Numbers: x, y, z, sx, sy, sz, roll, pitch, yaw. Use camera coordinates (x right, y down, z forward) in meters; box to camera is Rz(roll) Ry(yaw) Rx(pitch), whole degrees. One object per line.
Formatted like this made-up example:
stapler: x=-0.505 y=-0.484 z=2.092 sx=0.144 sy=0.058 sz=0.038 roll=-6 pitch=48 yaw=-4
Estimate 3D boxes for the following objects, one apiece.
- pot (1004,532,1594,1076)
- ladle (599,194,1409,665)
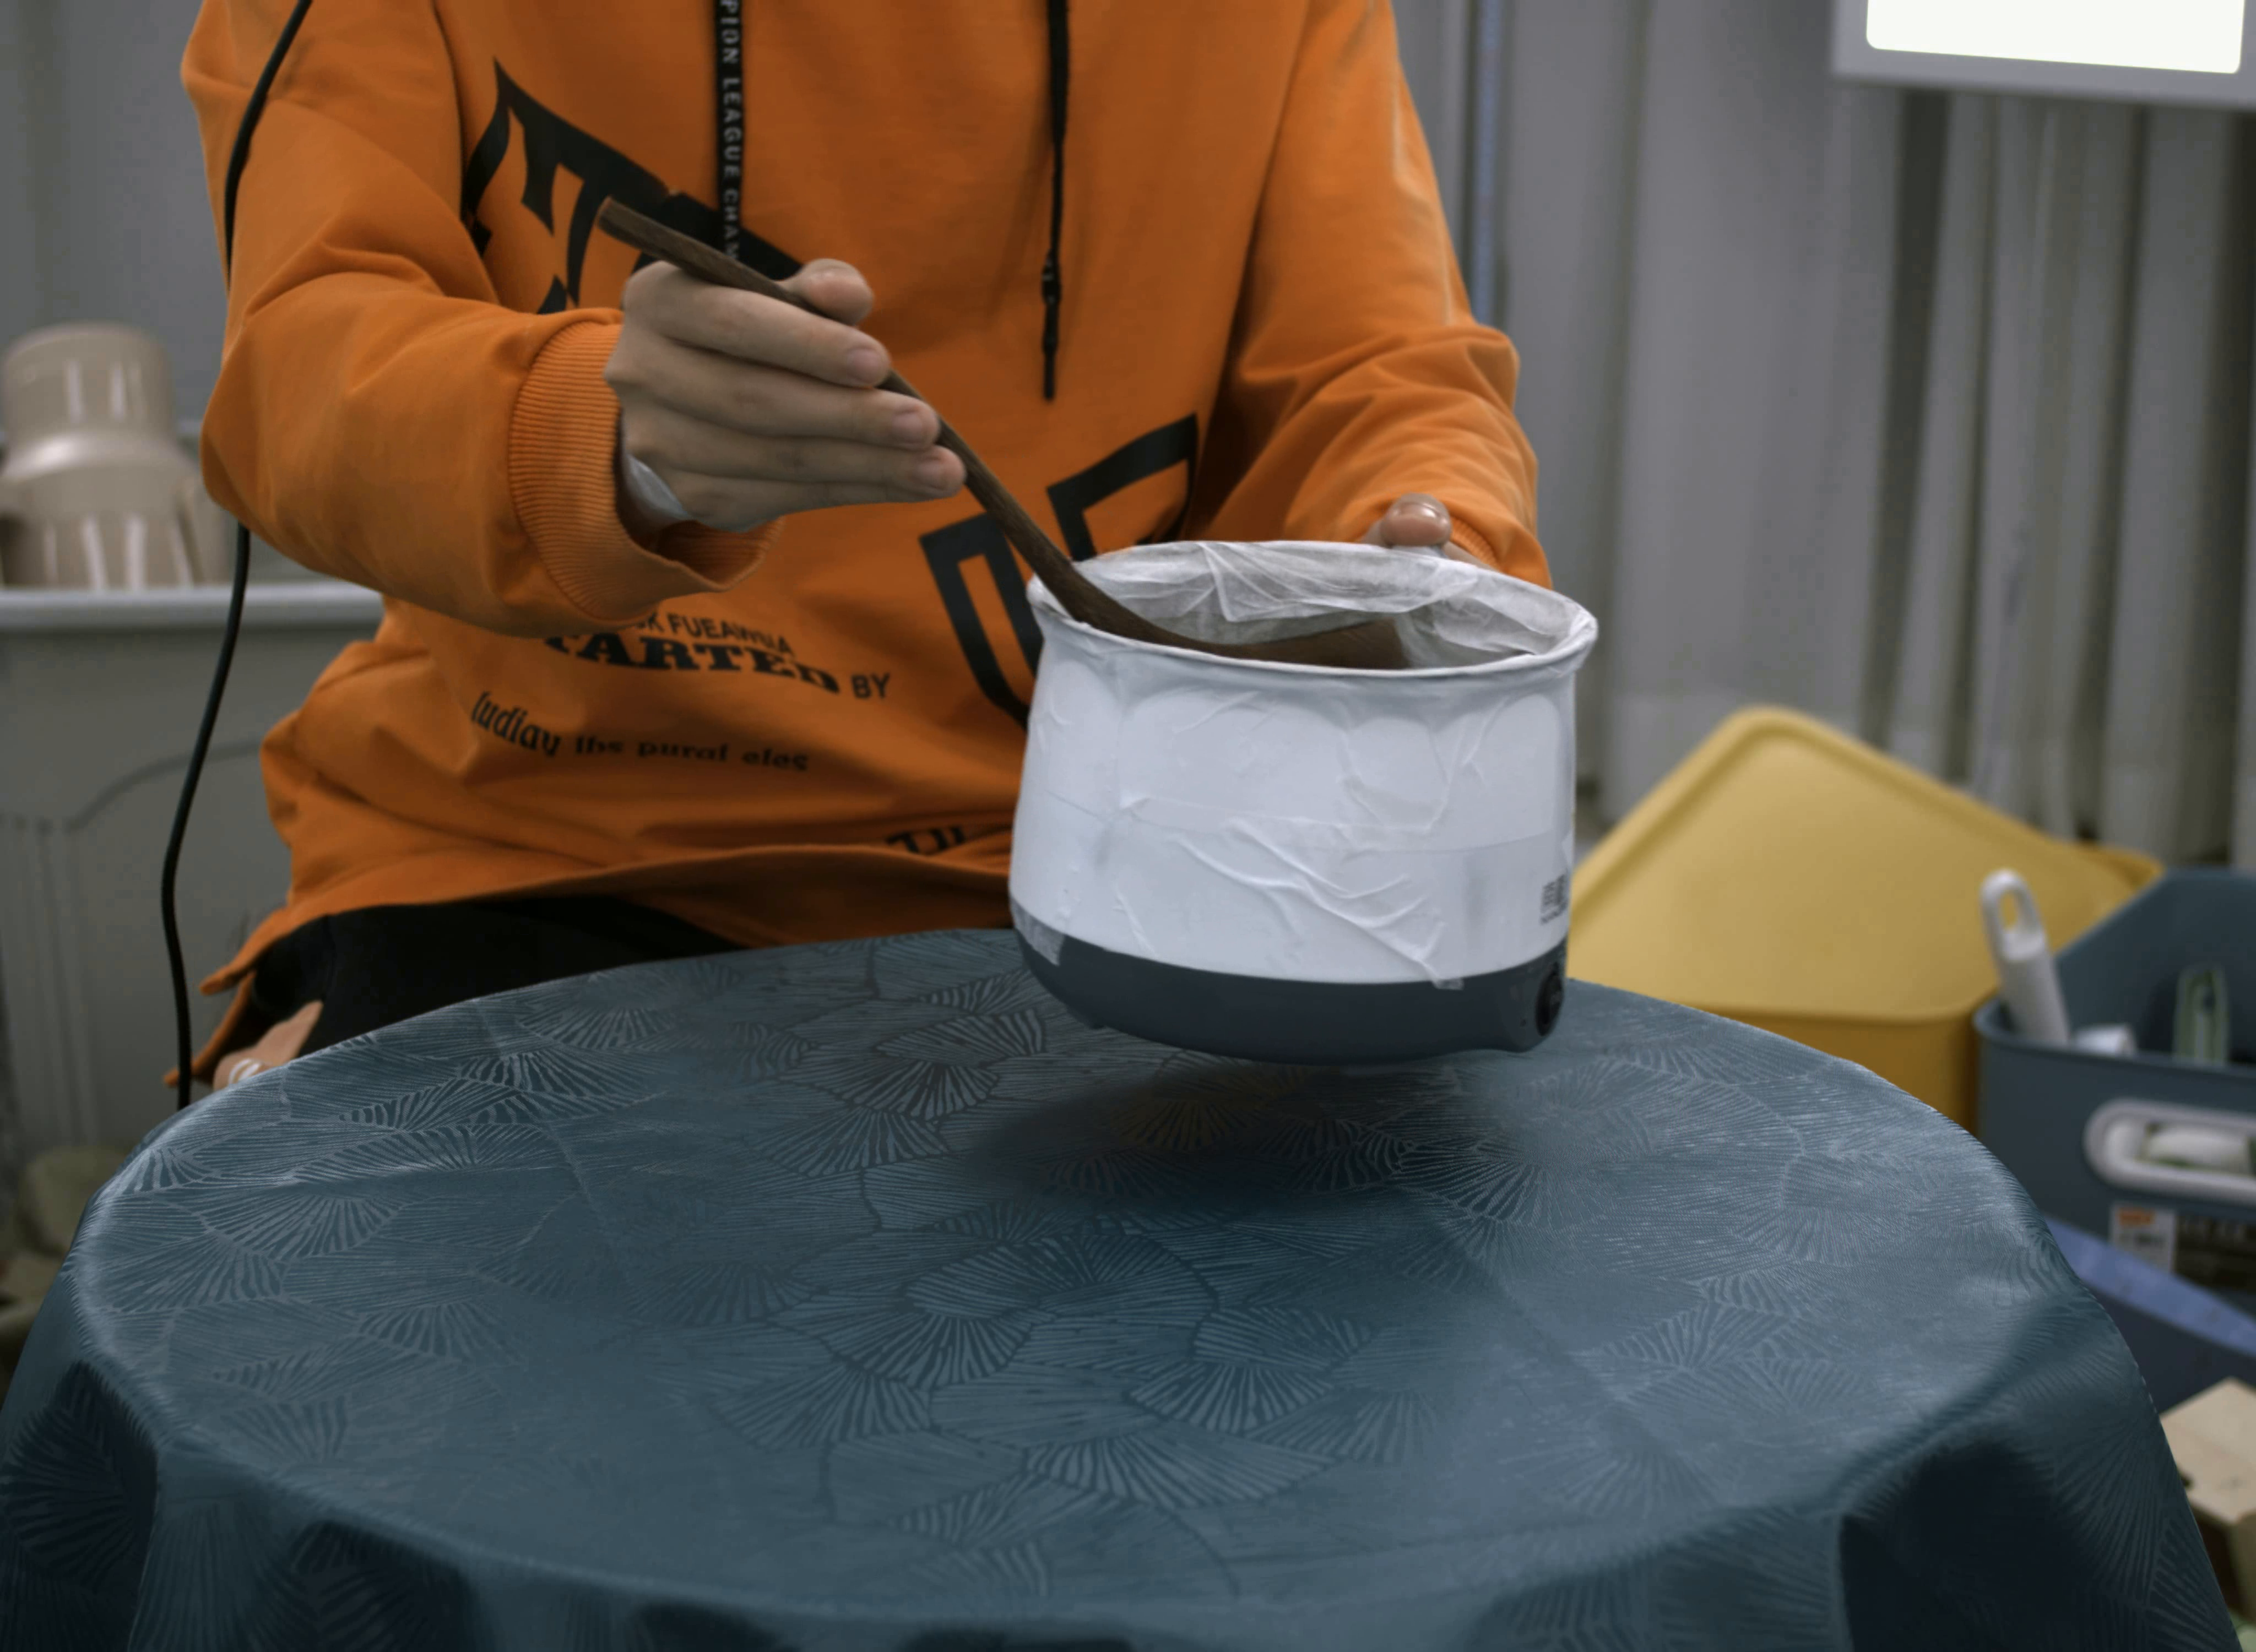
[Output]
pot: x=0.061 y=-0.015 z=1.670 sx=0.177 sy=0.137 sz=0.234 roll=10 pitch=16 yaw=18
ladle: x=-0.034 y=-0.123 z=1.595 sx=0.274 sy=0.071 sz=0.076 roll=41 pitch=-6 yaw=-5
